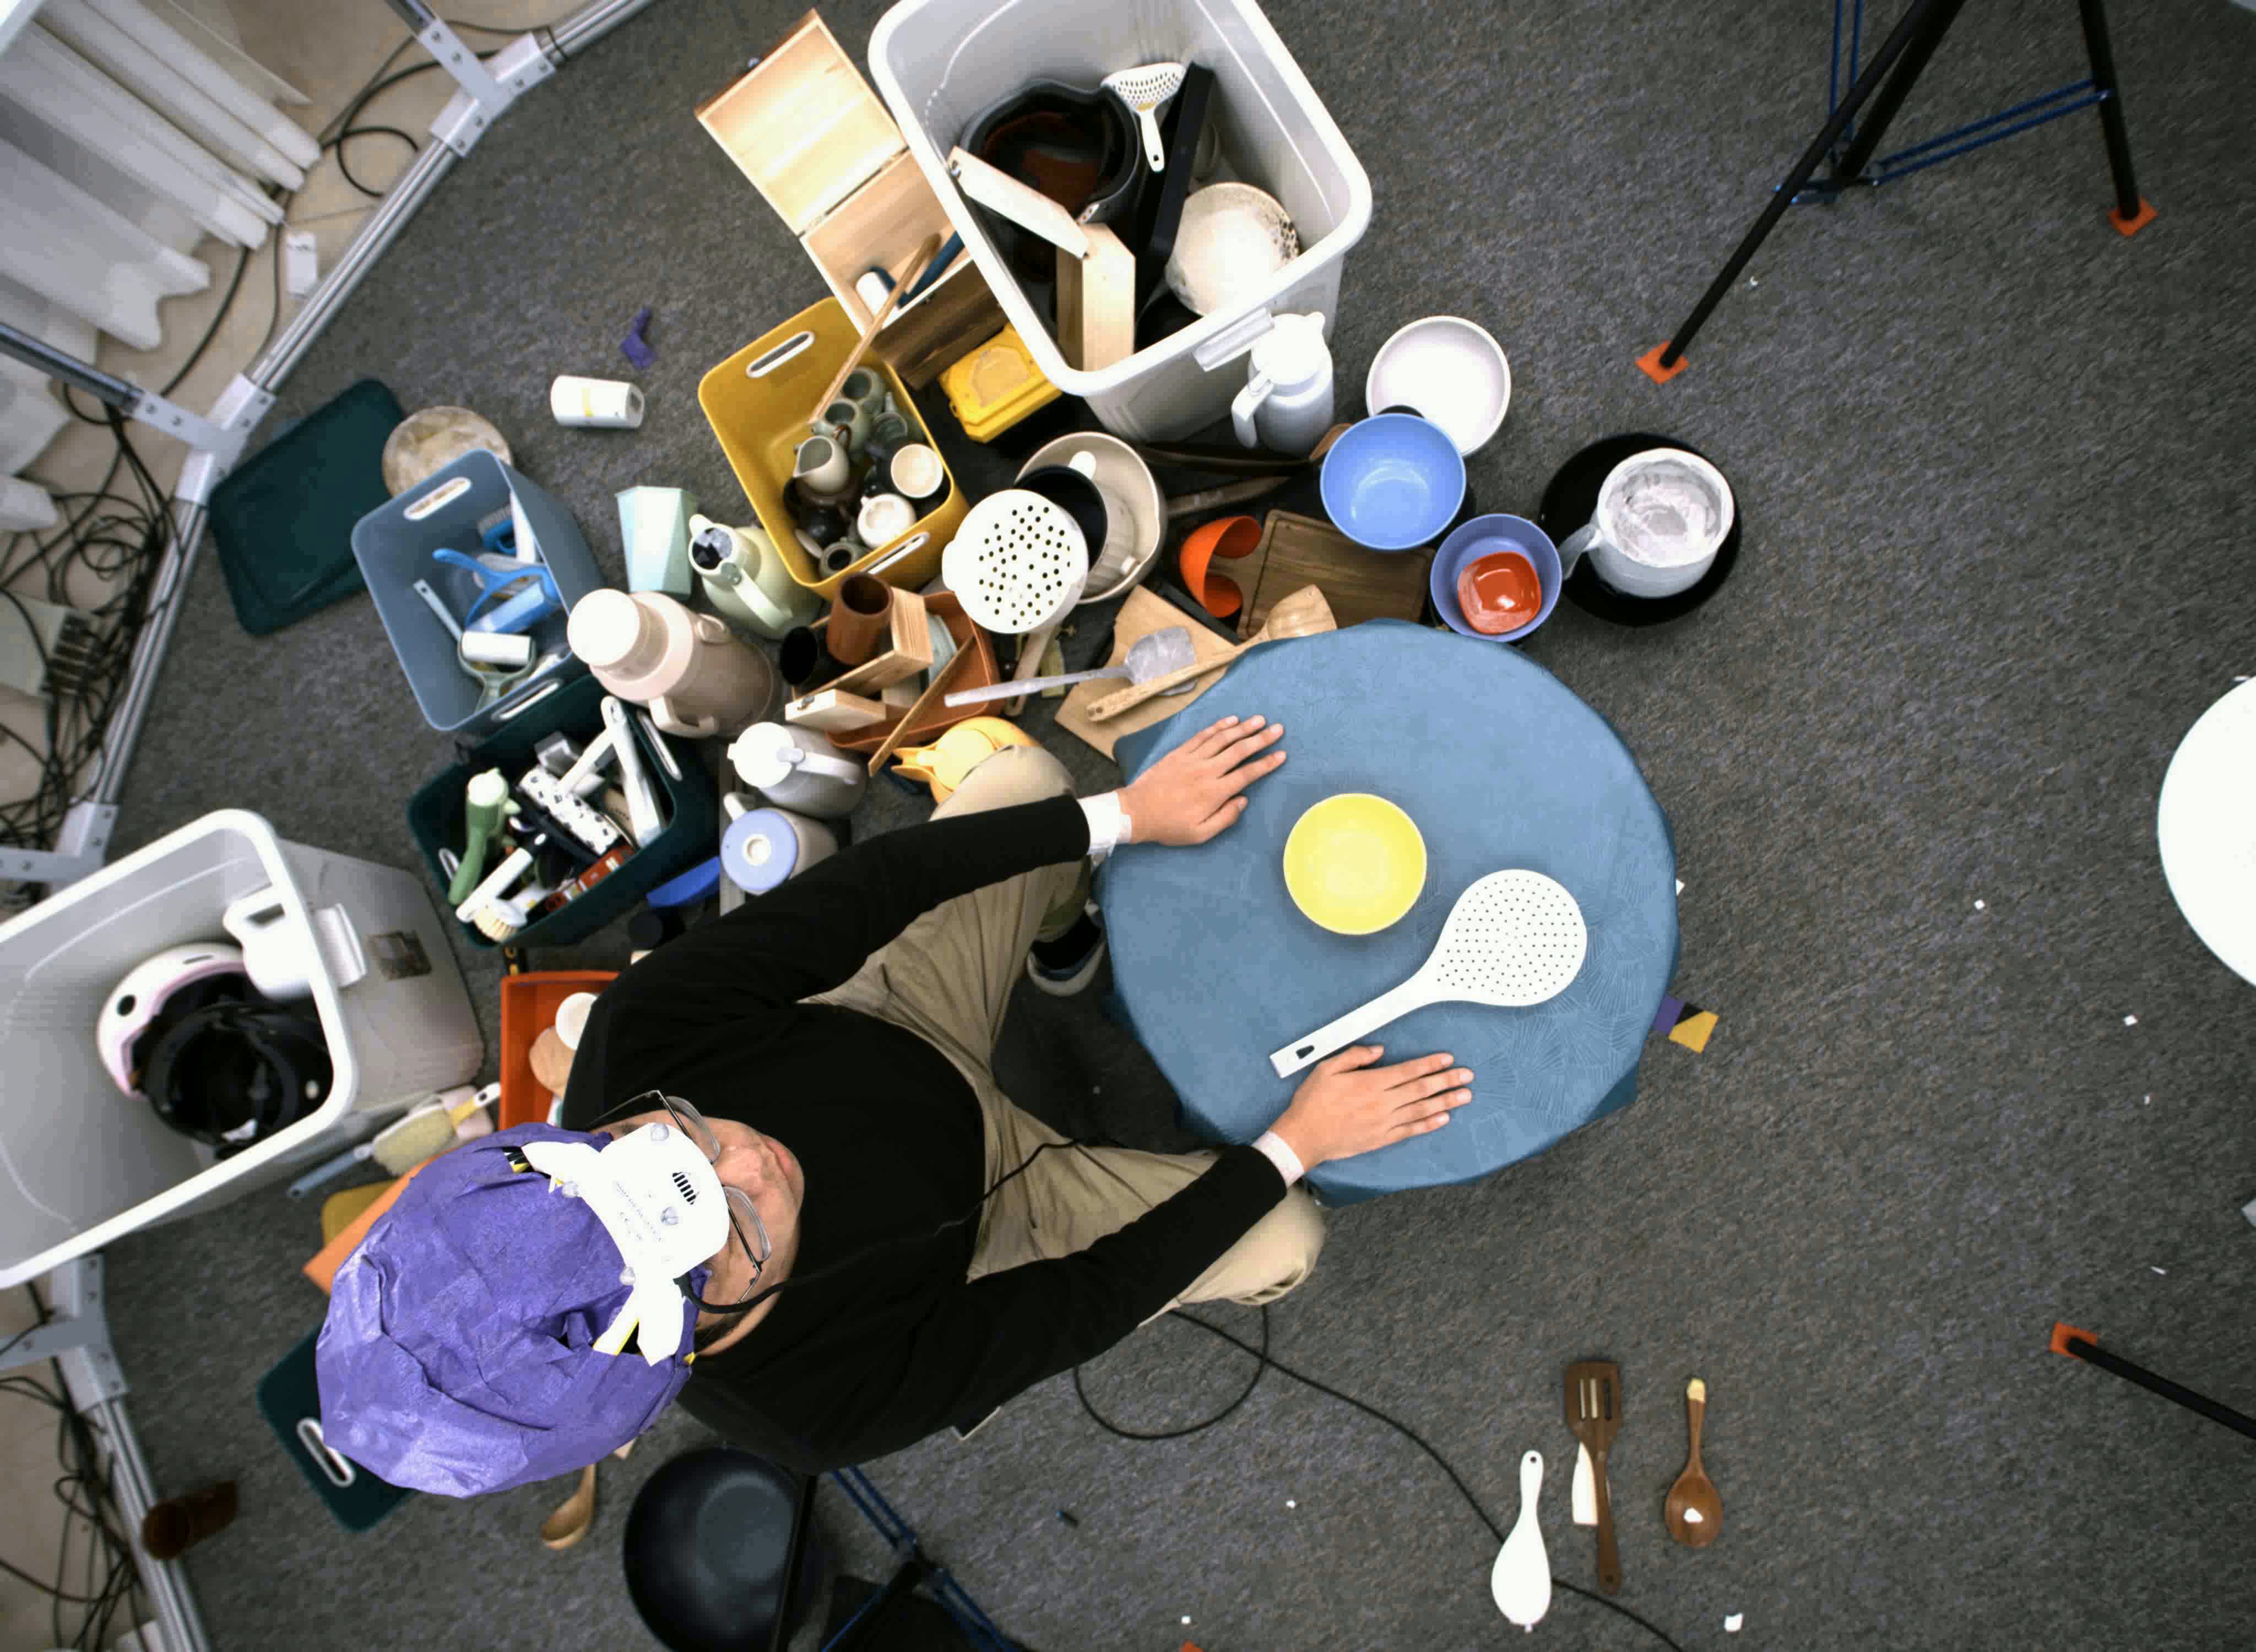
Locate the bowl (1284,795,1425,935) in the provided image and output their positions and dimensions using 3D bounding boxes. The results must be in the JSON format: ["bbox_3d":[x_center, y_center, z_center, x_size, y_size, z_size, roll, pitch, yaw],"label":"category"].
[{"bbox_3d":[0.236,0.042,1.440,0.146,0.060,0.144,-1,84,10],"label":"bowl"}]

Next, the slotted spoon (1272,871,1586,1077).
[{"bbox_3d":[0.304,0.167,1.425,0.352,0.046,0.135,-30,81,9],"label":"slotted spoon"}]
